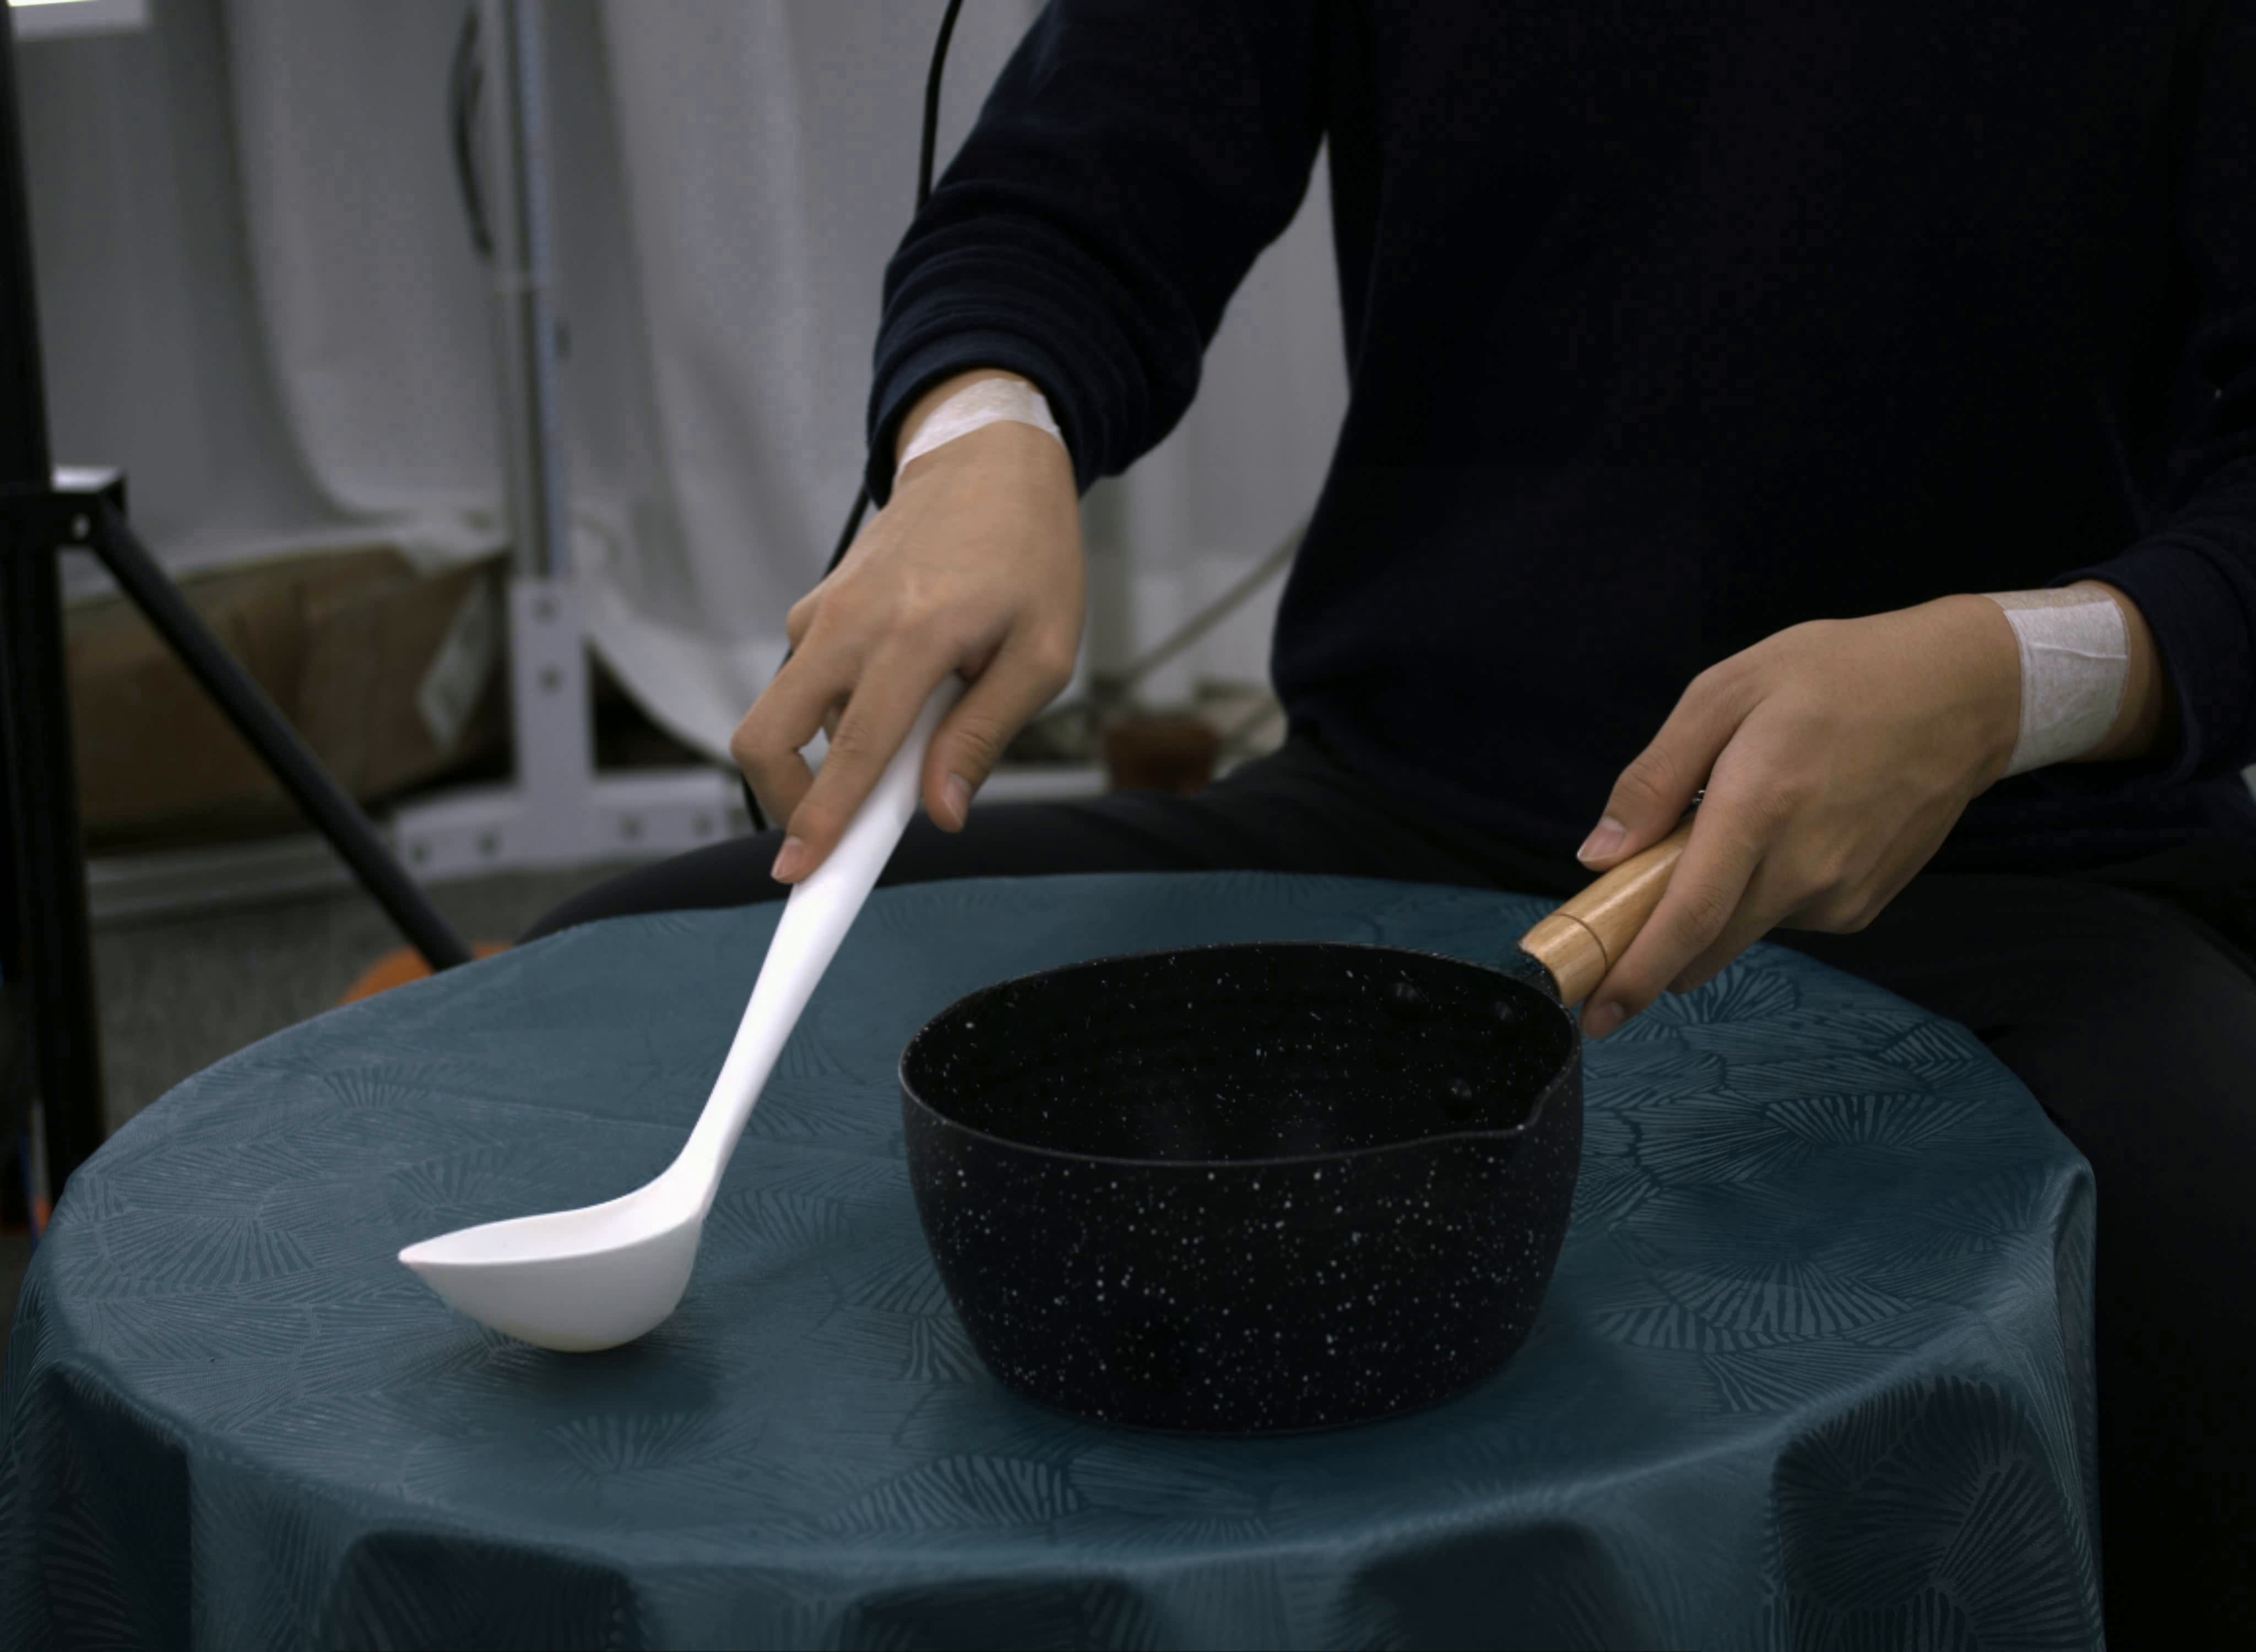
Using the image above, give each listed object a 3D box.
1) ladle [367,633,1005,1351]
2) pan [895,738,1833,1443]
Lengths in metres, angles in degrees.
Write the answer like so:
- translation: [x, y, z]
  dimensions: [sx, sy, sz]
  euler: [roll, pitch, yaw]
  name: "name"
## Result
- translation: [-0.117, 0.039, 1.527]
  dimensions: [0.092, 0.069, 0.292]
  euler: [-12, 37, 41]
  name: "ladle"
- translation: [0.085, 0.068, 1.478]
  dimensions: [0.212, 0.108, 0.335]
  euler: [11, 23, 43]
  name: "pan"
